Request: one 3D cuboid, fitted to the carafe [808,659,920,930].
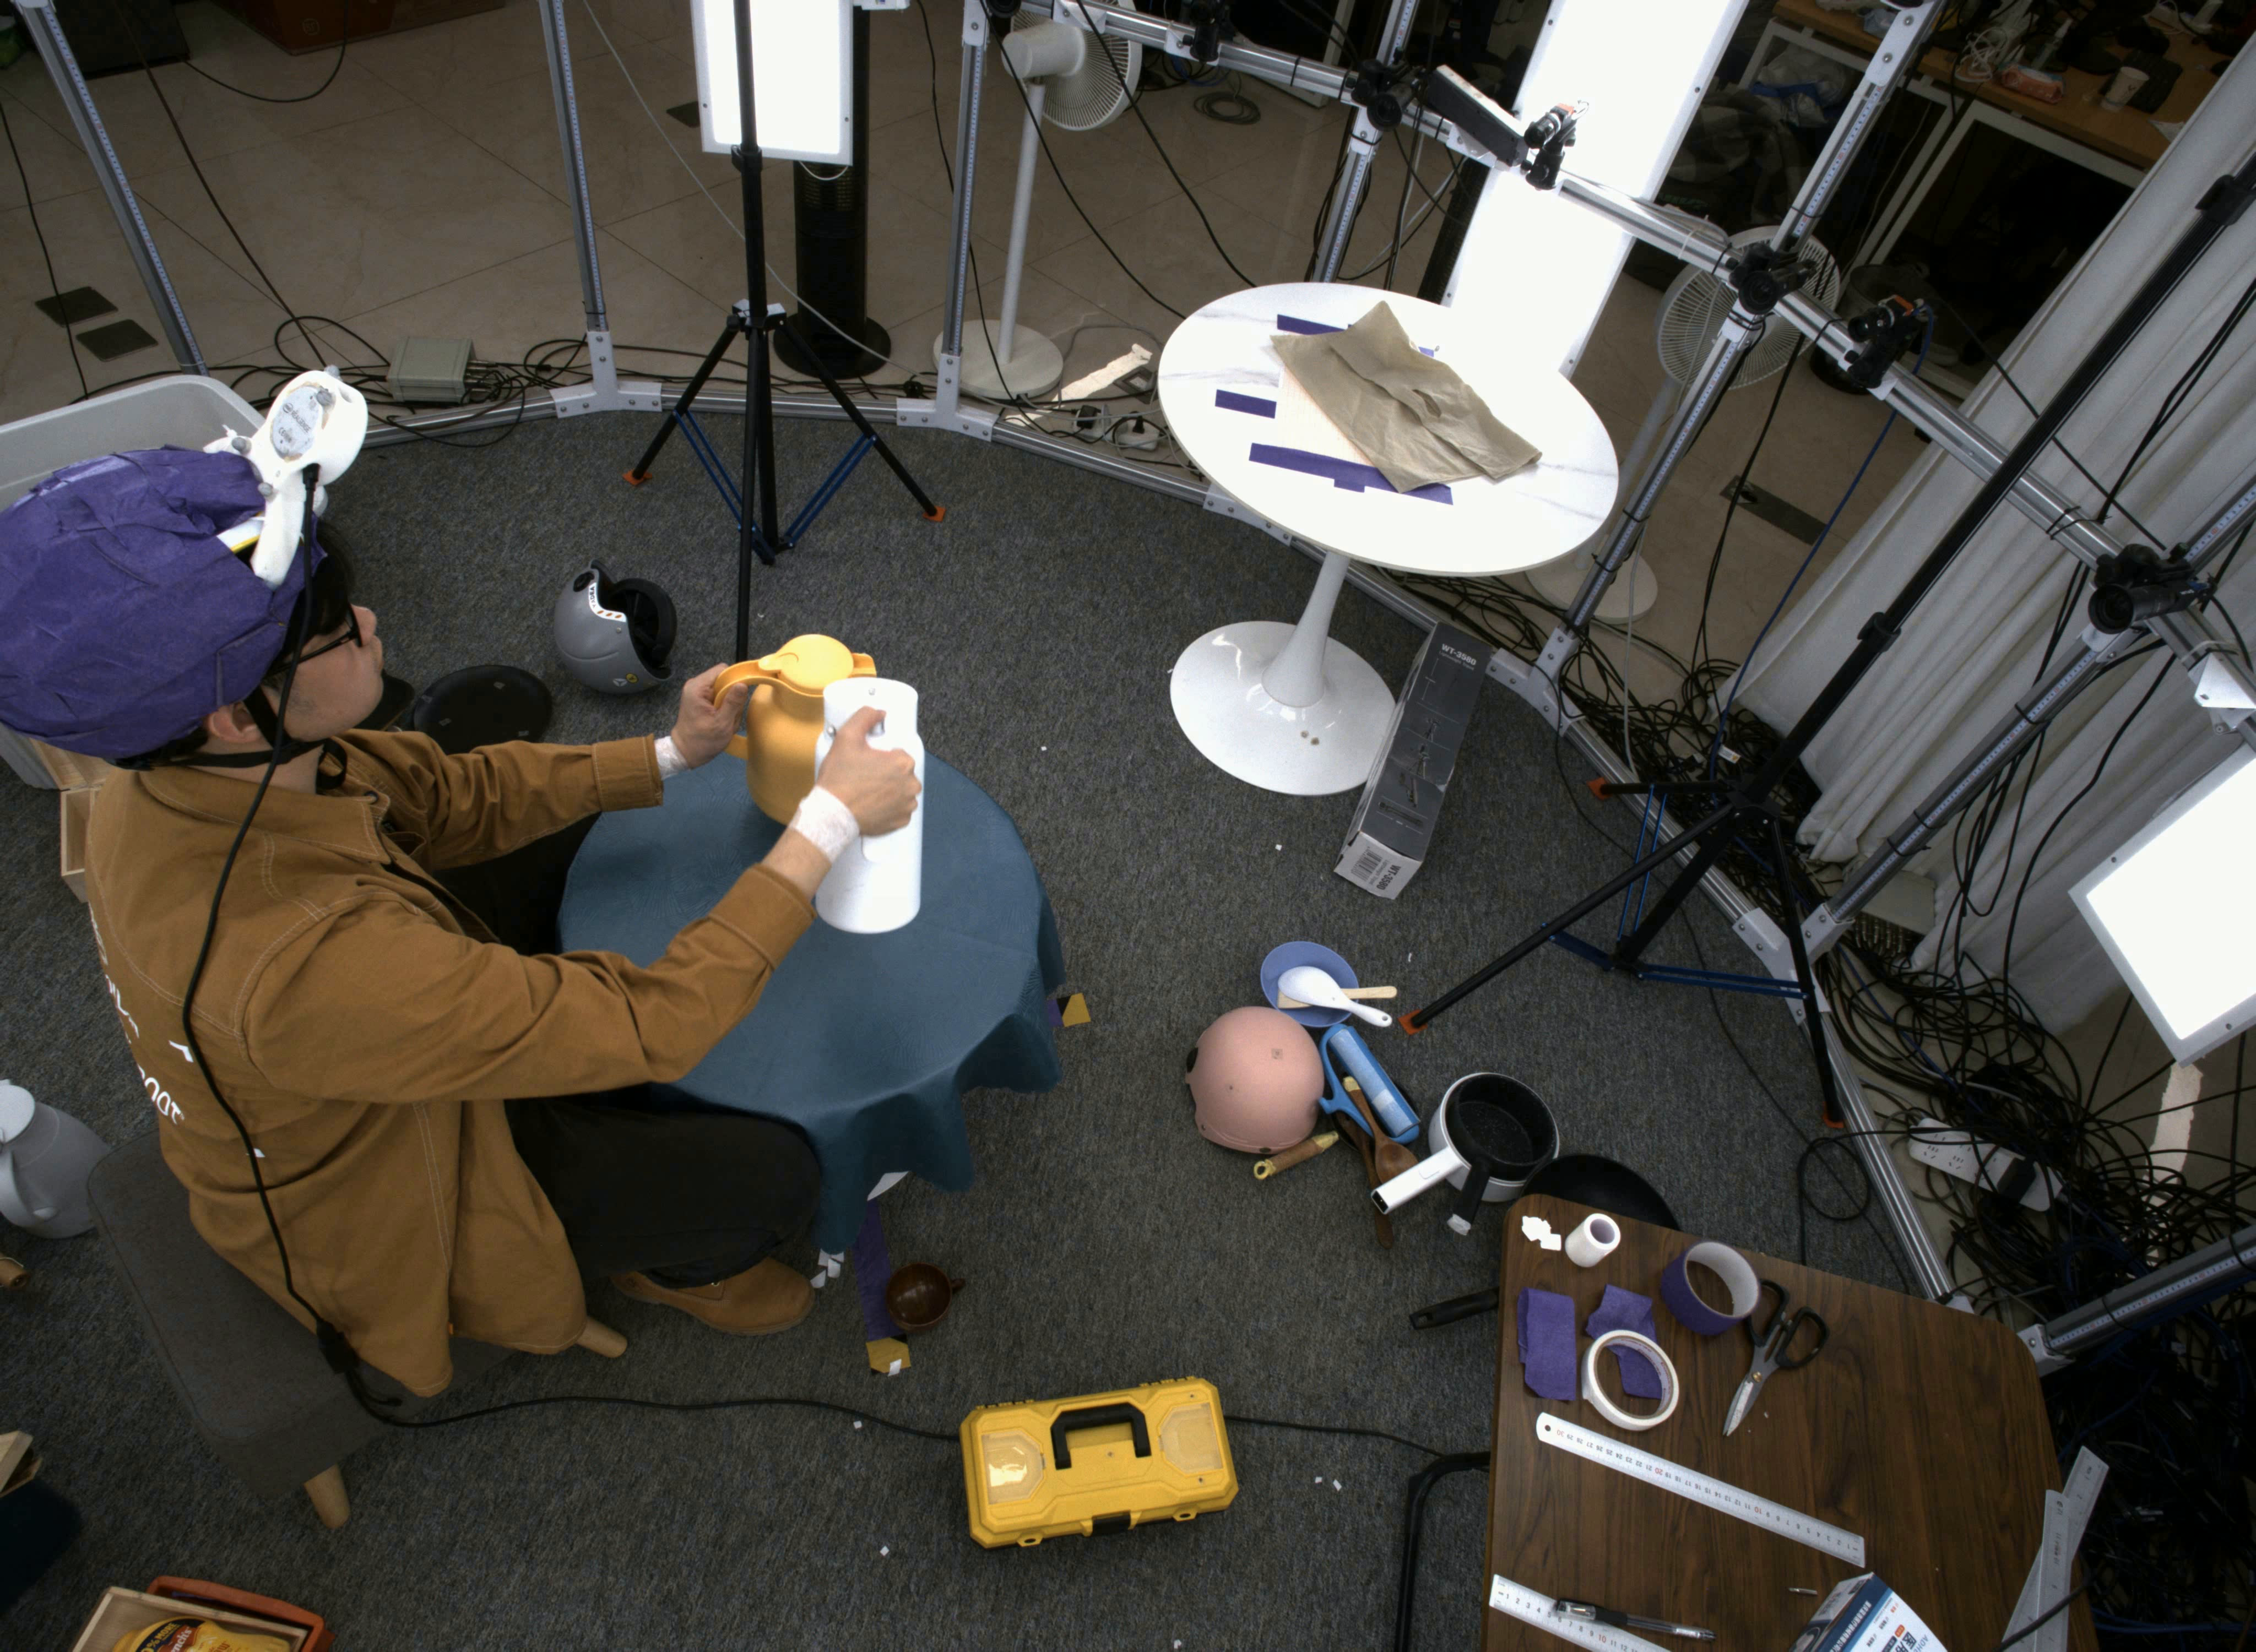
[{"bbox_3d":[-0.279,-0.024,1.392,0.124,0.276,0.167,-2,27,-18],"label":"carafe"}]

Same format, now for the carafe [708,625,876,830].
[{"bbox_3d":[-0.415,-0.128,1.602,0.204,0.265,0.159,-1,52,-19],"label":"carafe"}]
